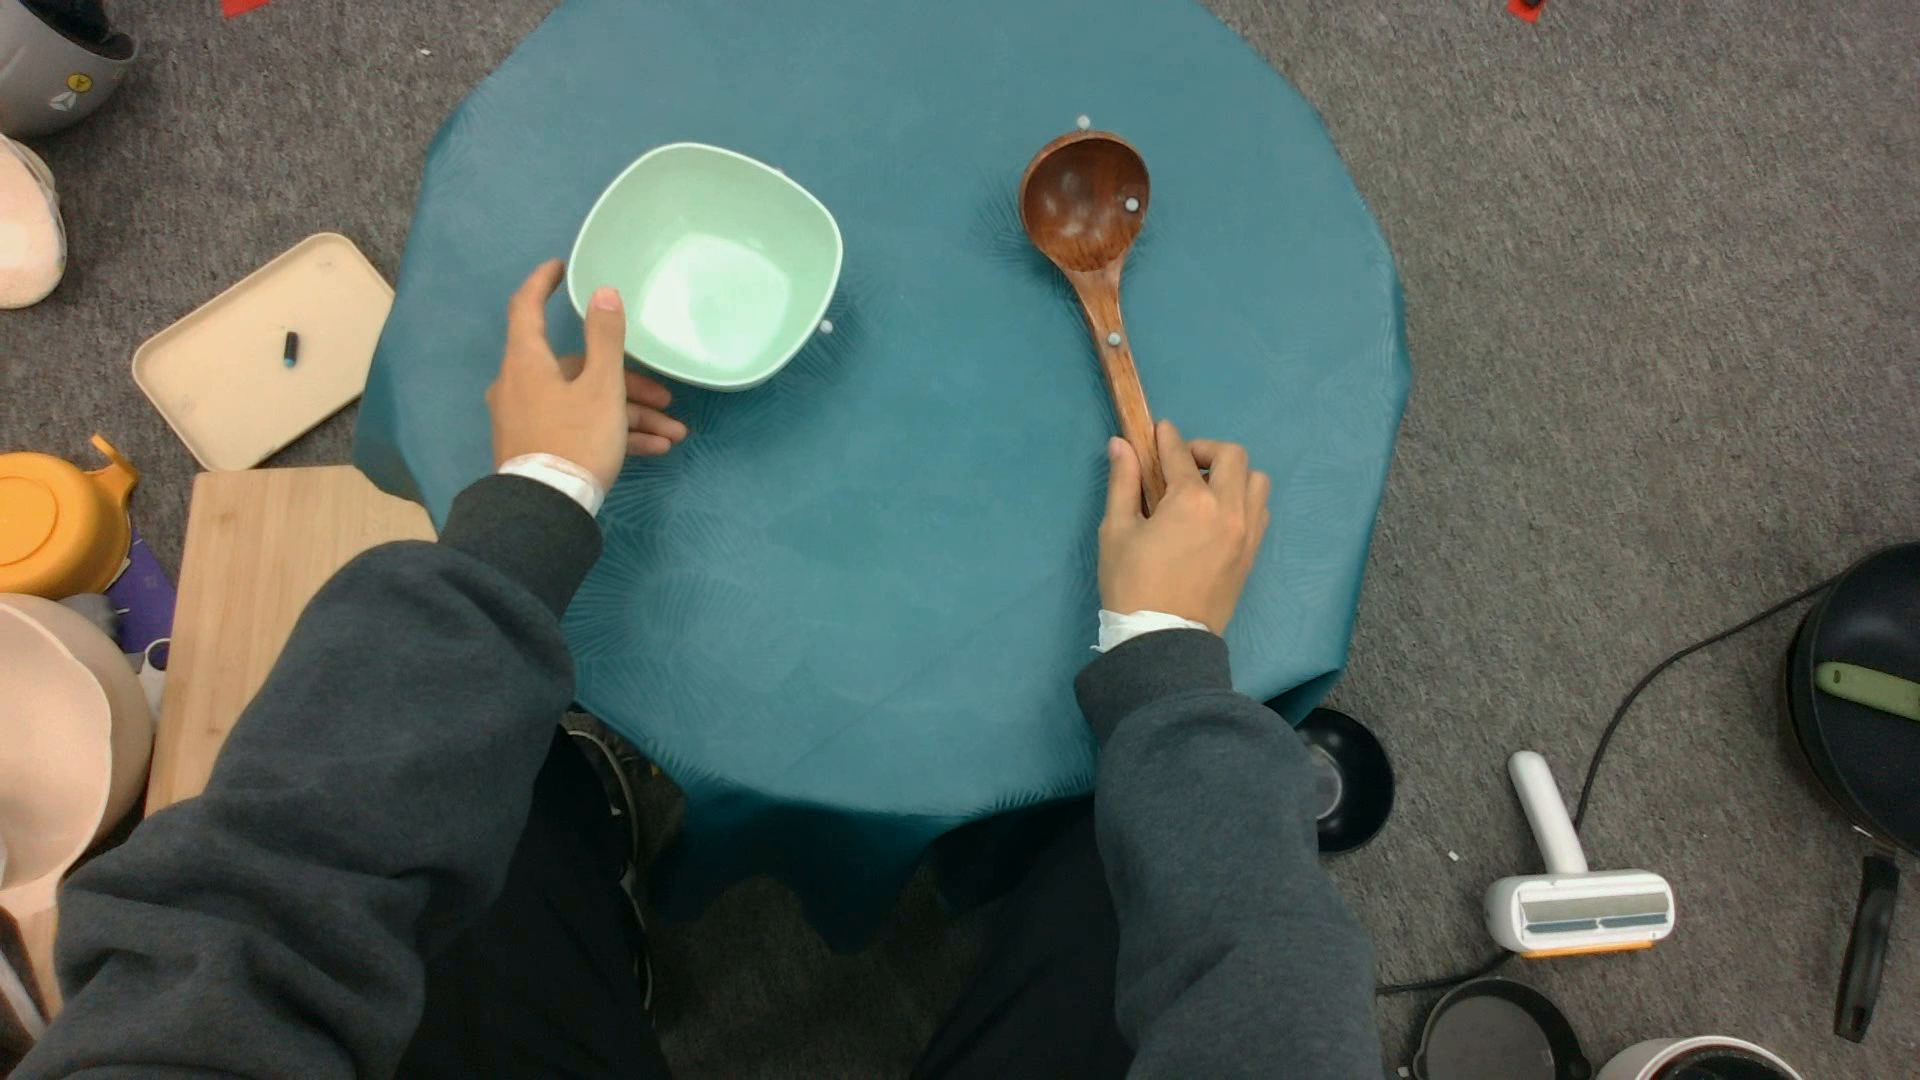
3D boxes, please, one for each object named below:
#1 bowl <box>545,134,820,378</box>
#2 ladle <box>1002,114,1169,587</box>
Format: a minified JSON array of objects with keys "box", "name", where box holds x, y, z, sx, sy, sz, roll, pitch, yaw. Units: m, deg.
[{"box":[-0.154,-0.151,0.781,0.151,0.058,0.152,3,70,-8],"name":"bowl"},{"box":[0.086,-0.113,0.789,0.082,0.076,0.274,-11,74,-4],"name":"ladle"}]
